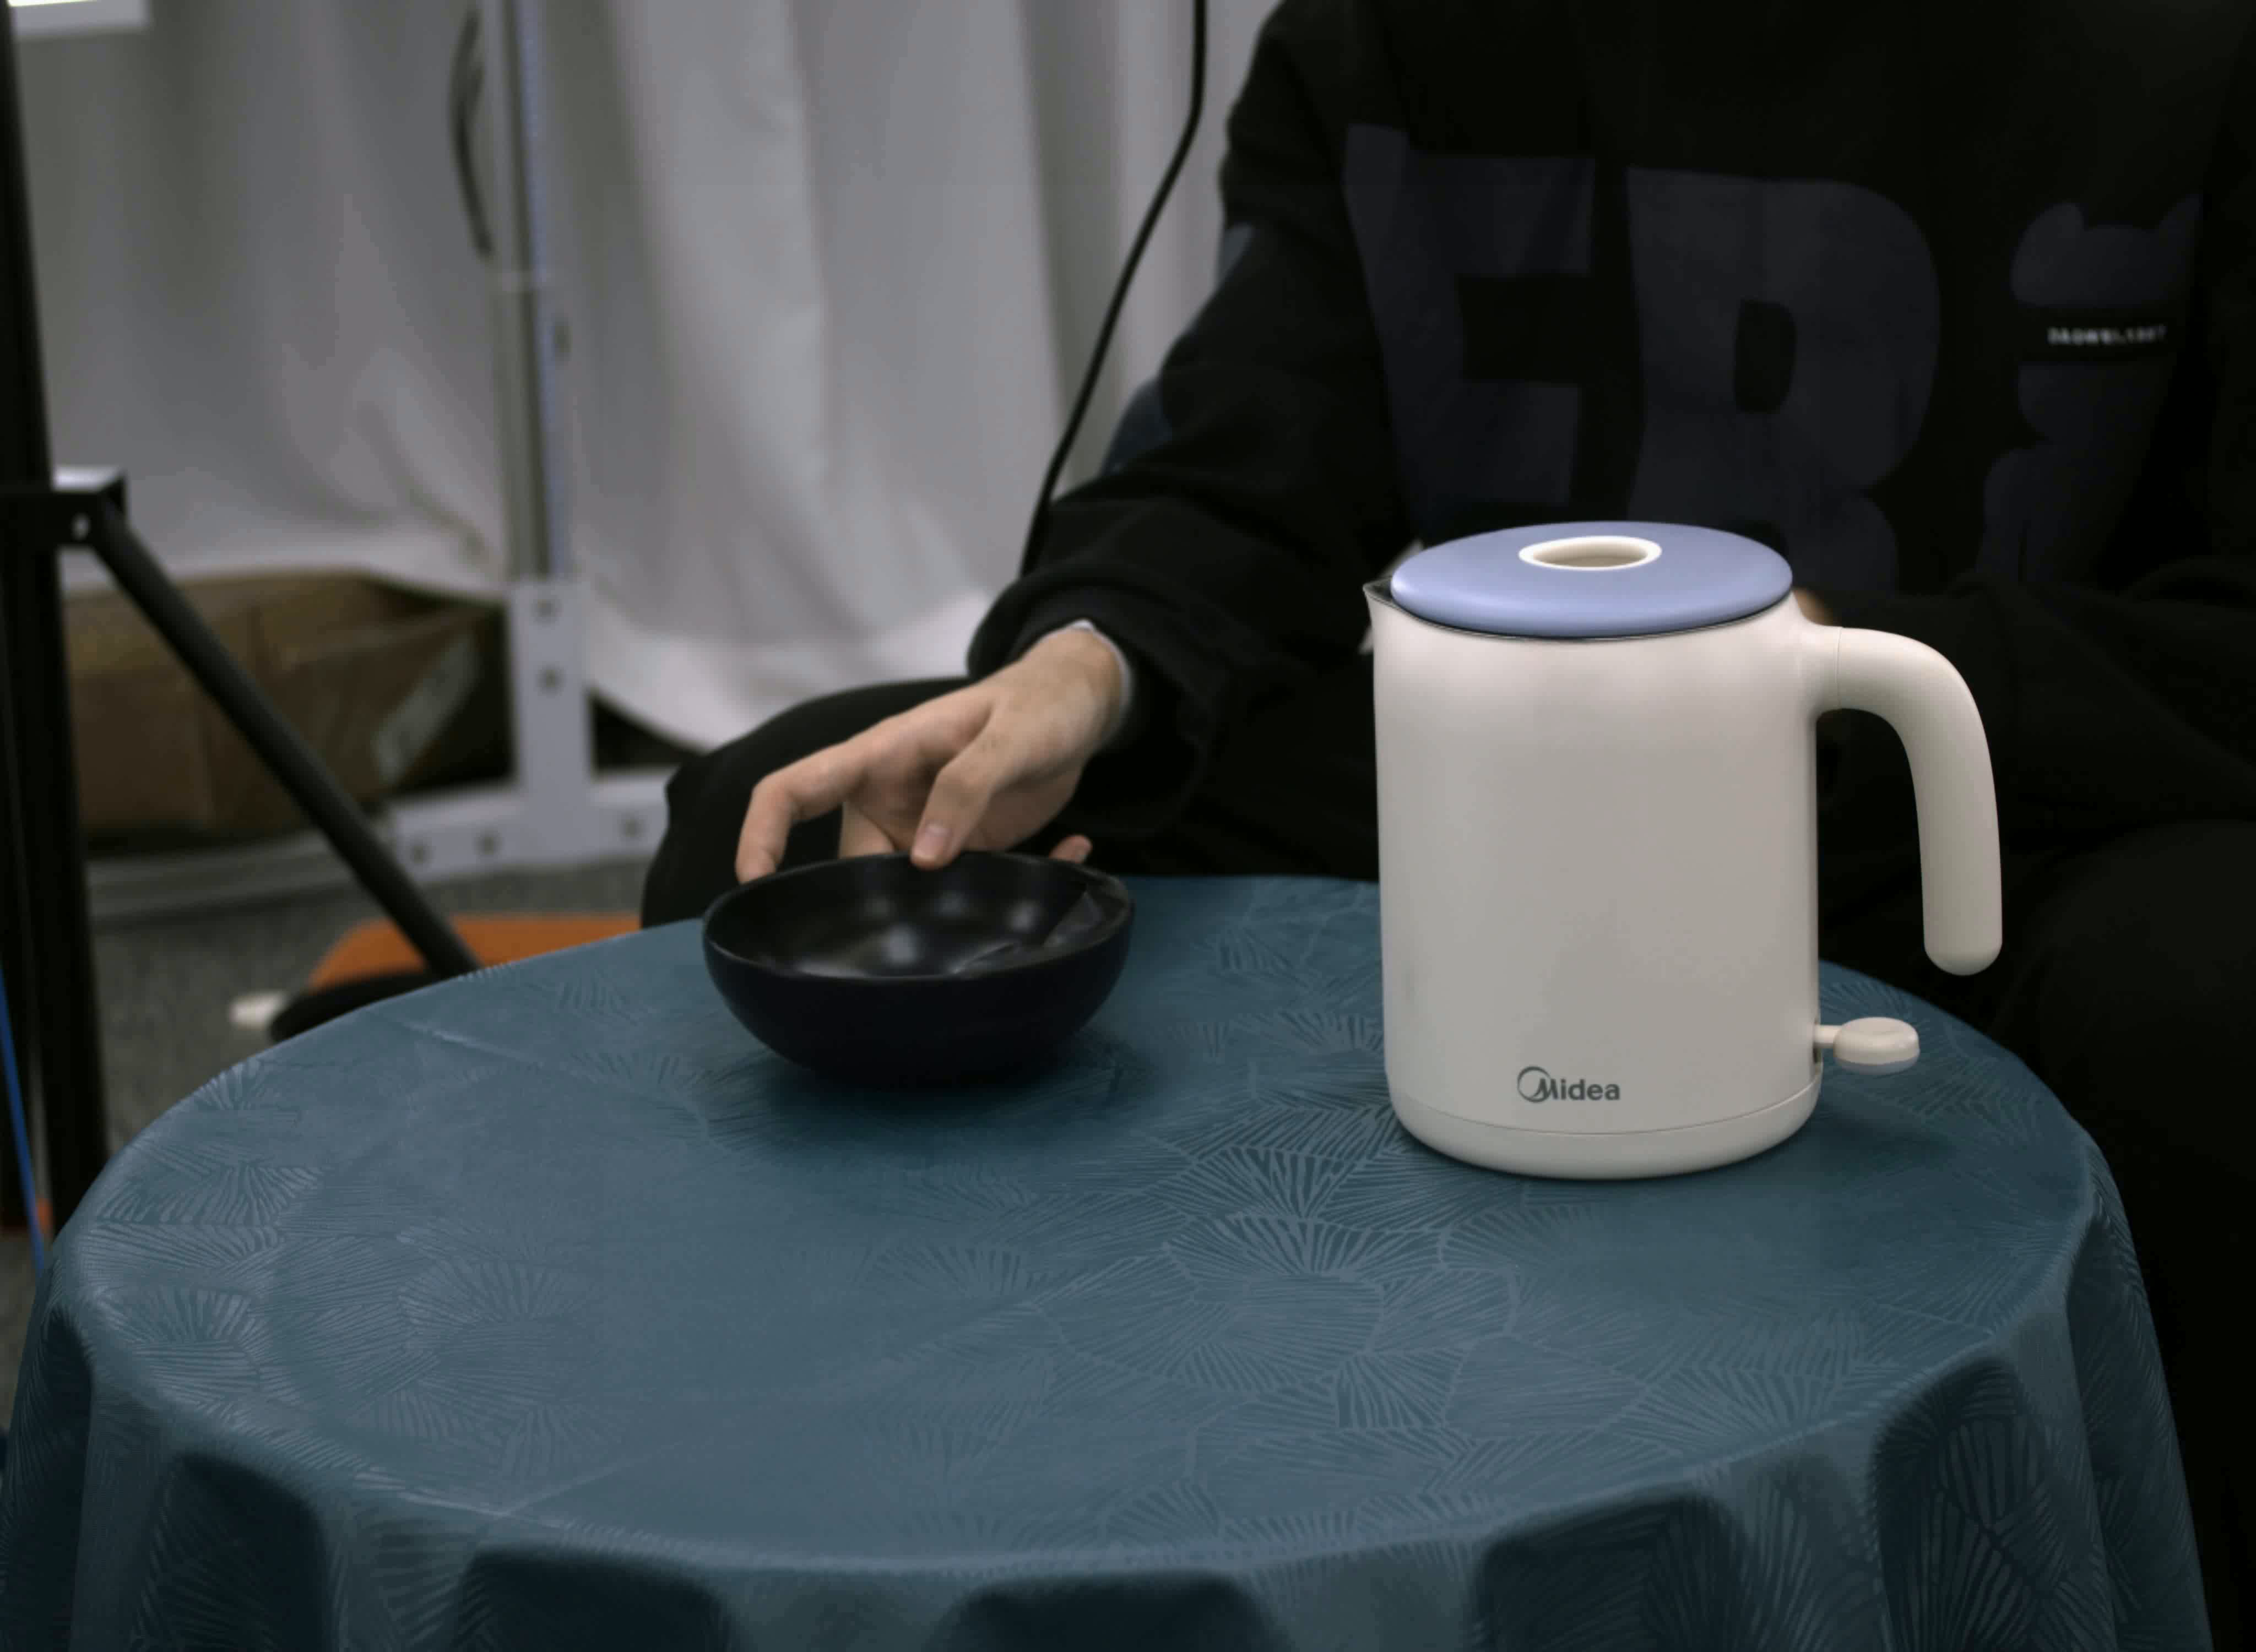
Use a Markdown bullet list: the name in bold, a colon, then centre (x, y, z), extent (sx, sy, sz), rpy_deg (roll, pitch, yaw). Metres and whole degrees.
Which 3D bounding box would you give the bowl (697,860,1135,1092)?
- **bowl**: centre (-0.066, 0.051, 1.682), extent (0.139, 0.050, 0.140), rpy_deg (-2, 13, -1)

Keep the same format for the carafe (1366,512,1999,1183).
- **carafe**: centre (0.163, 0.007, 1.573), extent (0.192, 0.182, 0.131), rpy_deg (4, 17, 13)
